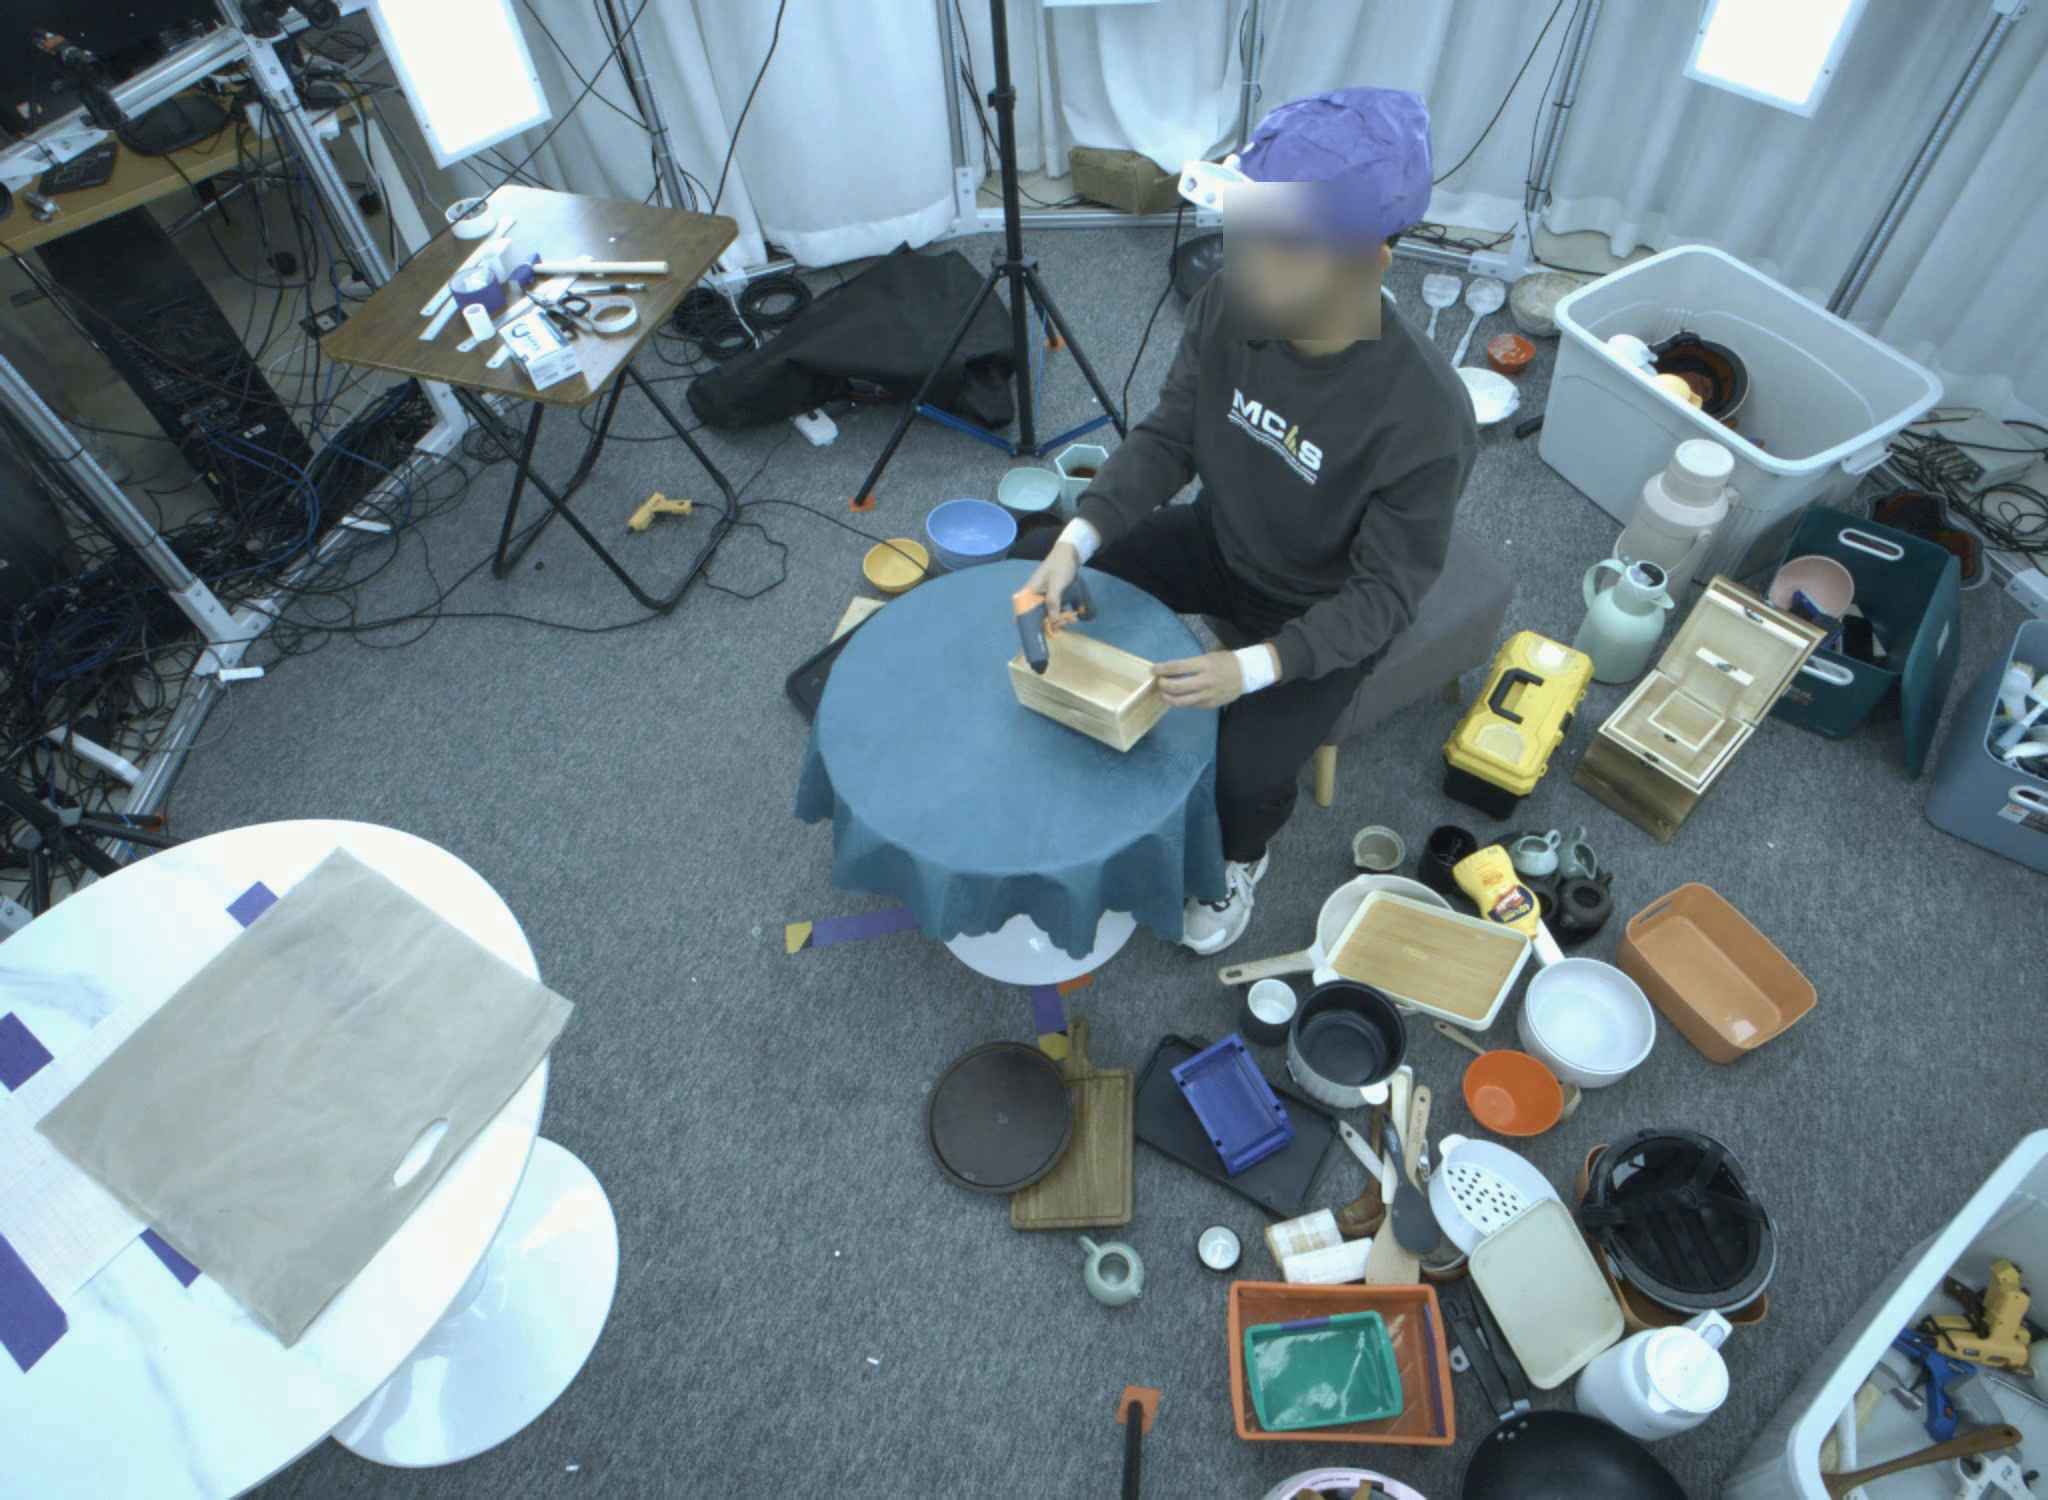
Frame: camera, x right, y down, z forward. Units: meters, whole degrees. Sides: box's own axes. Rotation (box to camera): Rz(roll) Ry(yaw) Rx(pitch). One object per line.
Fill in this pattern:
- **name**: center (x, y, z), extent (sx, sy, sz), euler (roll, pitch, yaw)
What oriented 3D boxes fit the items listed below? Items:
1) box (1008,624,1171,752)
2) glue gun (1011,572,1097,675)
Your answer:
- **box**: center (0.093, -0.093, 1.771), extent (0.206, 0.081, 0.108), euler (27, 58, 37)
- **glue gun**: center (0.040, -0.188, 1.771), extent (0.141, 0.119, 0.040), euler (-38, 21, -34)
